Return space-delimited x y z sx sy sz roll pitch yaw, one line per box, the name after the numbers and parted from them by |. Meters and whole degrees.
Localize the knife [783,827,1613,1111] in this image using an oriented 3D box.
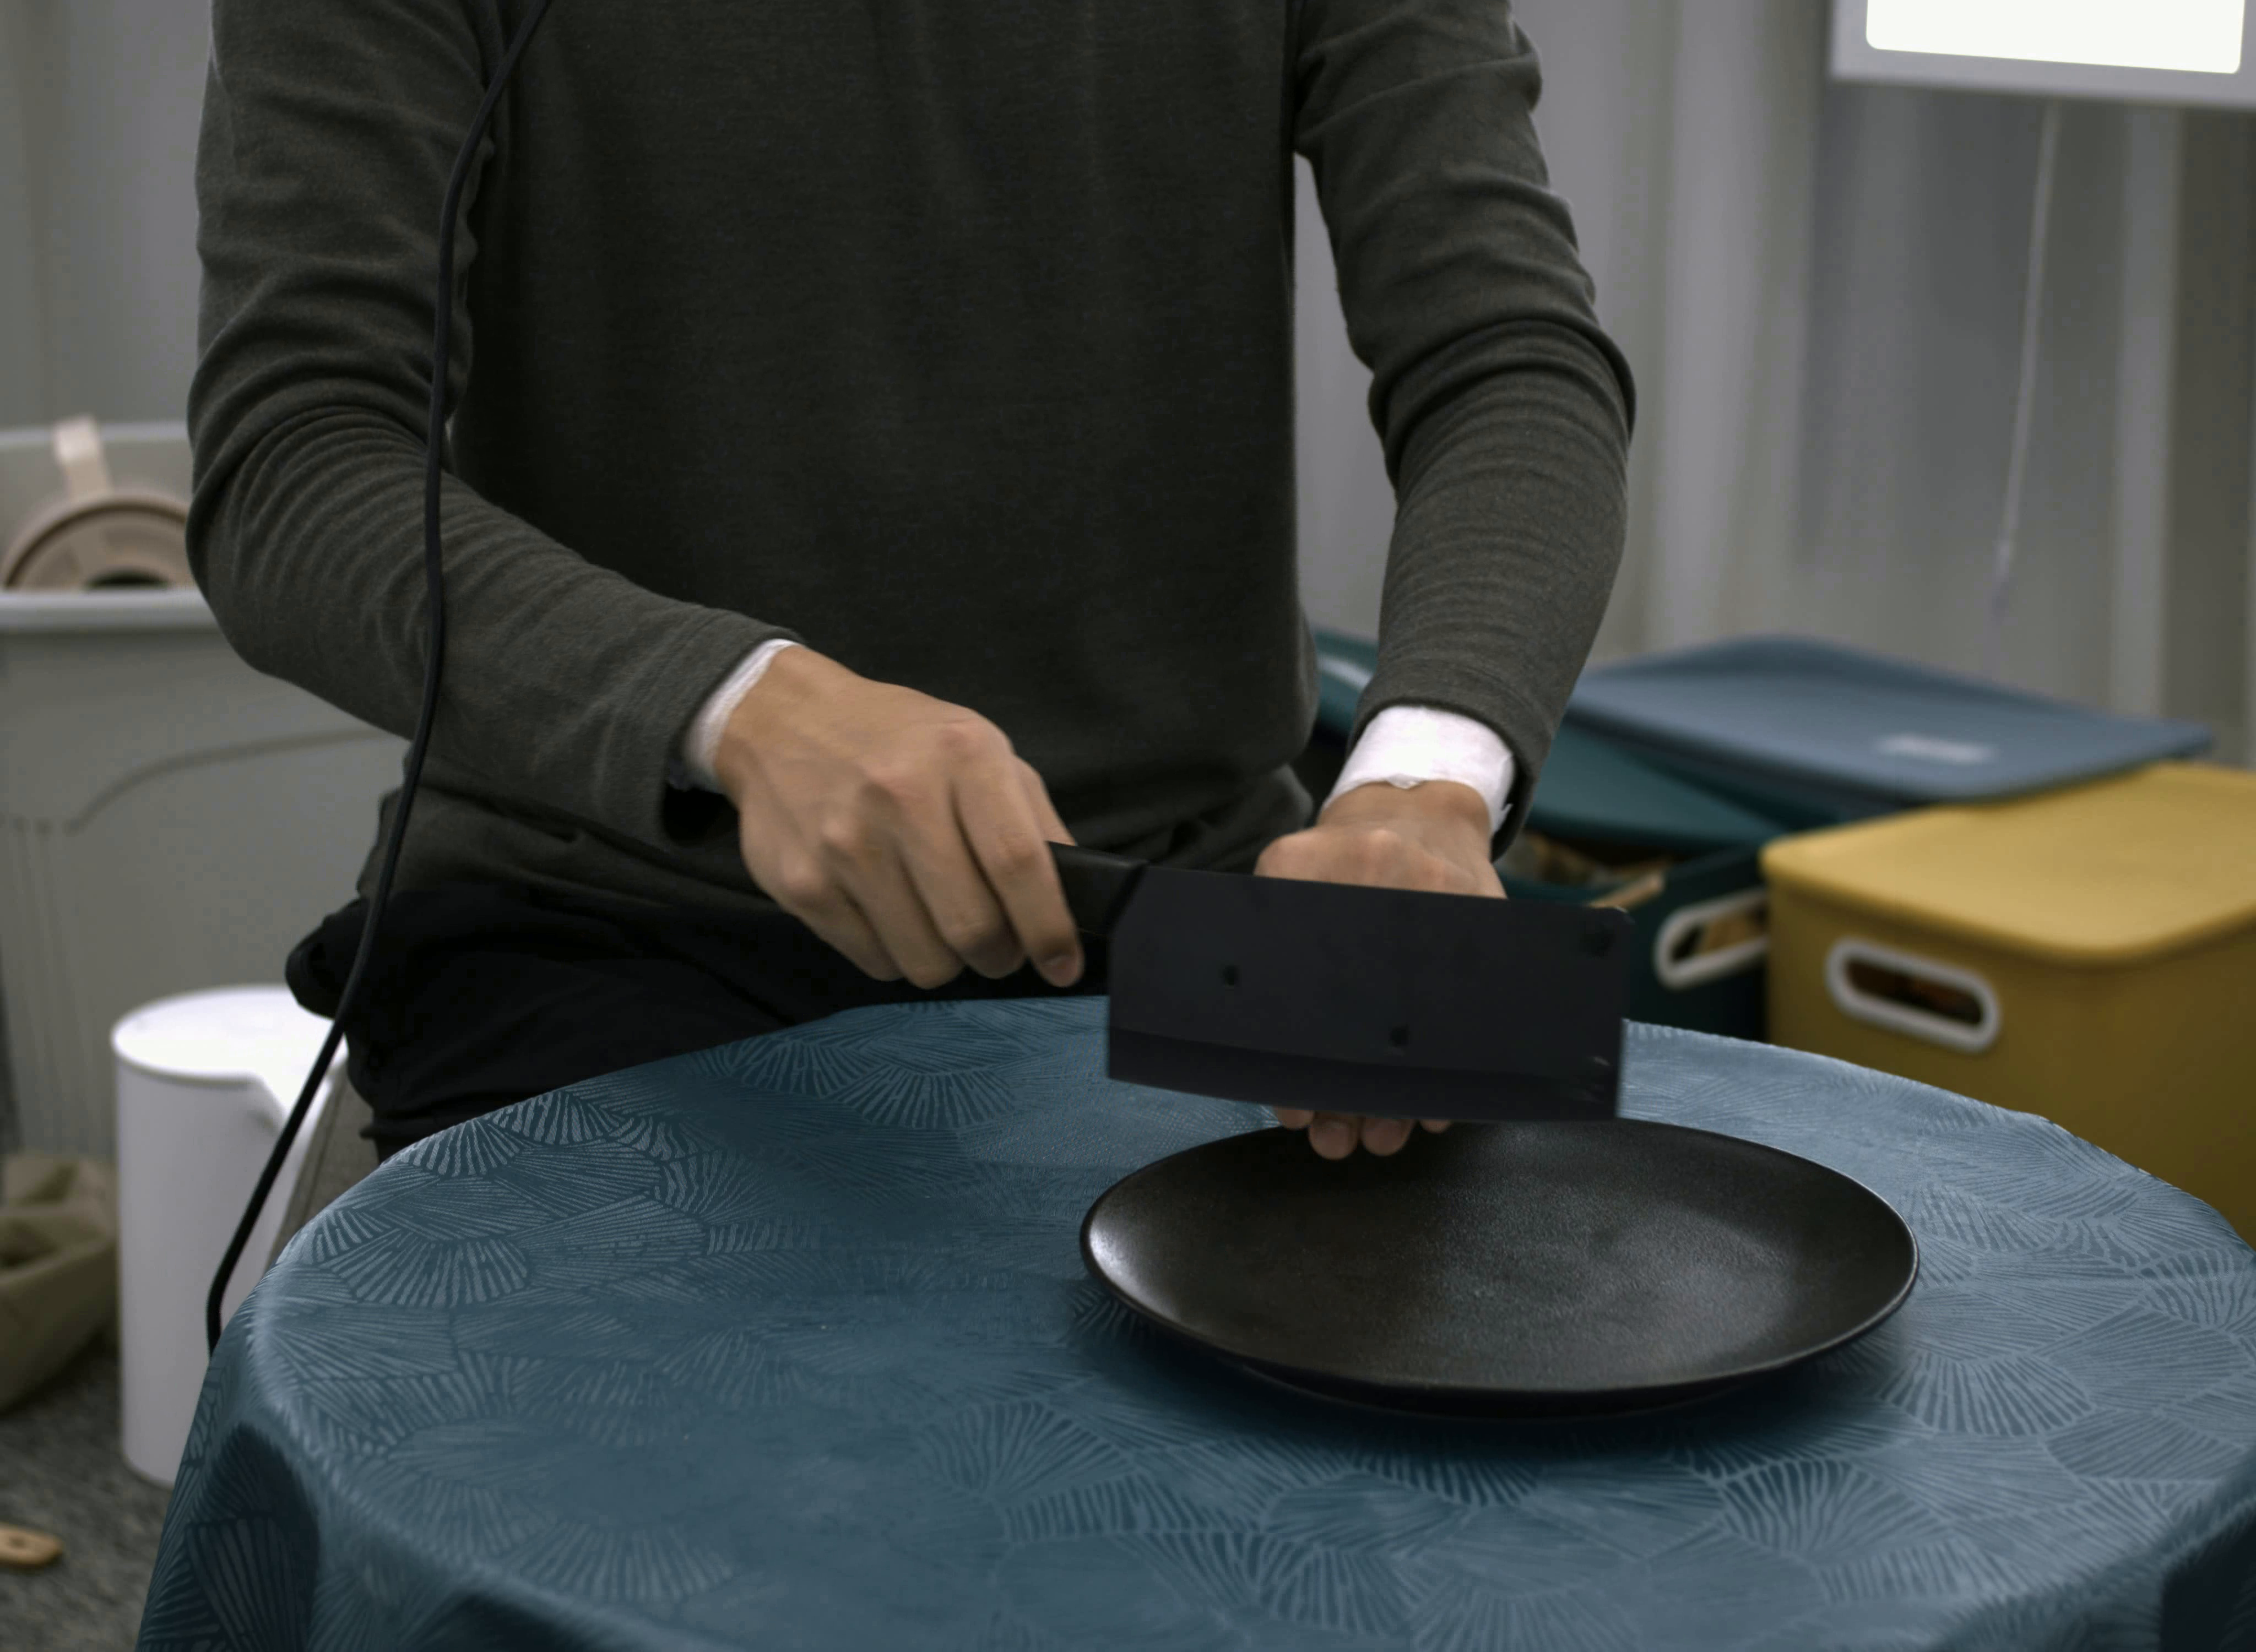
0.016 0.039 1.541 0.298 0.081 0.021 10 7 37 | knife

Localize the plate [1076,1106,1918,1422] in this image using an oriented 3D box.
0.106 0.129 1.526 0.243 0.023 0.243 1 15 0 | plate
